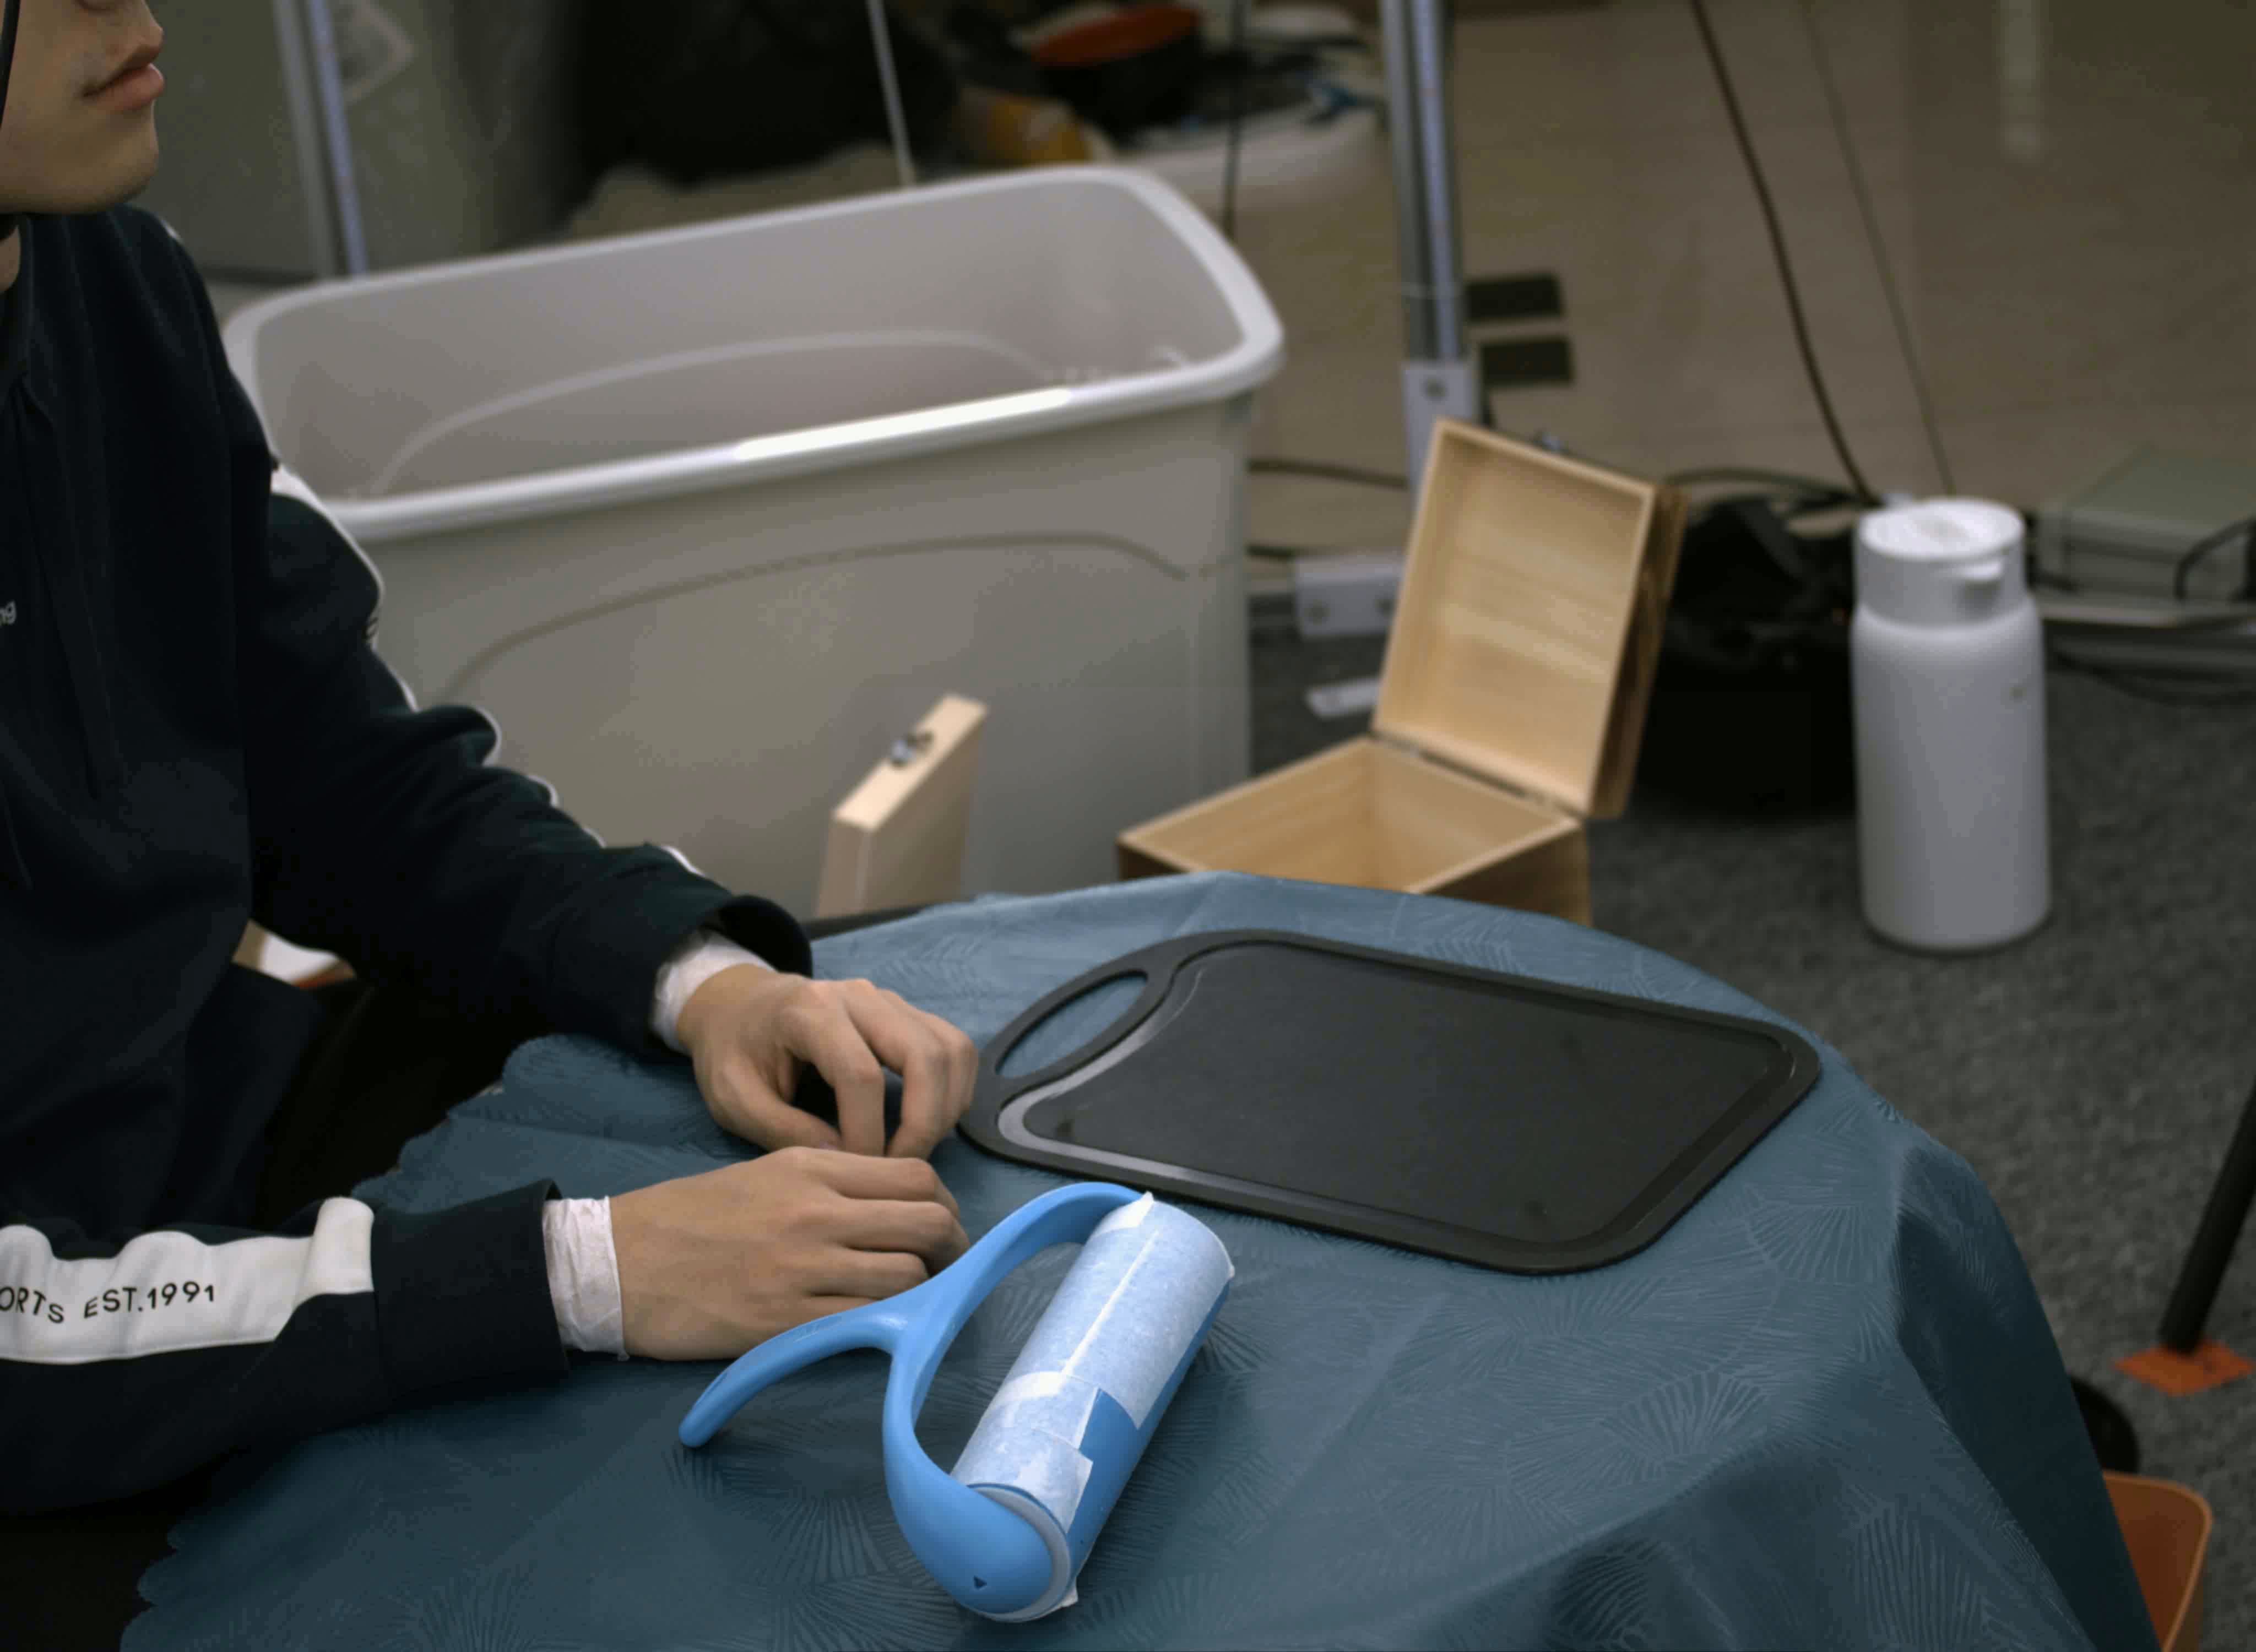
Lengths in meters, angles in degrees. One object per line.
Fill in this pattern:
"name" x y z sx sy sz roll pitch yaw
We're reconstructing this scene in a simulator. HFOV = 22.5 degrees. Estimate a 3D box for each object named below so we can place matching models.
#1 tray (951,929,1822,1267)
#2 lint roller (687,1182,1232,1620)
"tray" 0.091 0.100 2.197 0.324 0.010 0.209 11 30 33
"lint roller" -0.072 0.196 1.972 0.180 0.069 0.225 2 28 15
